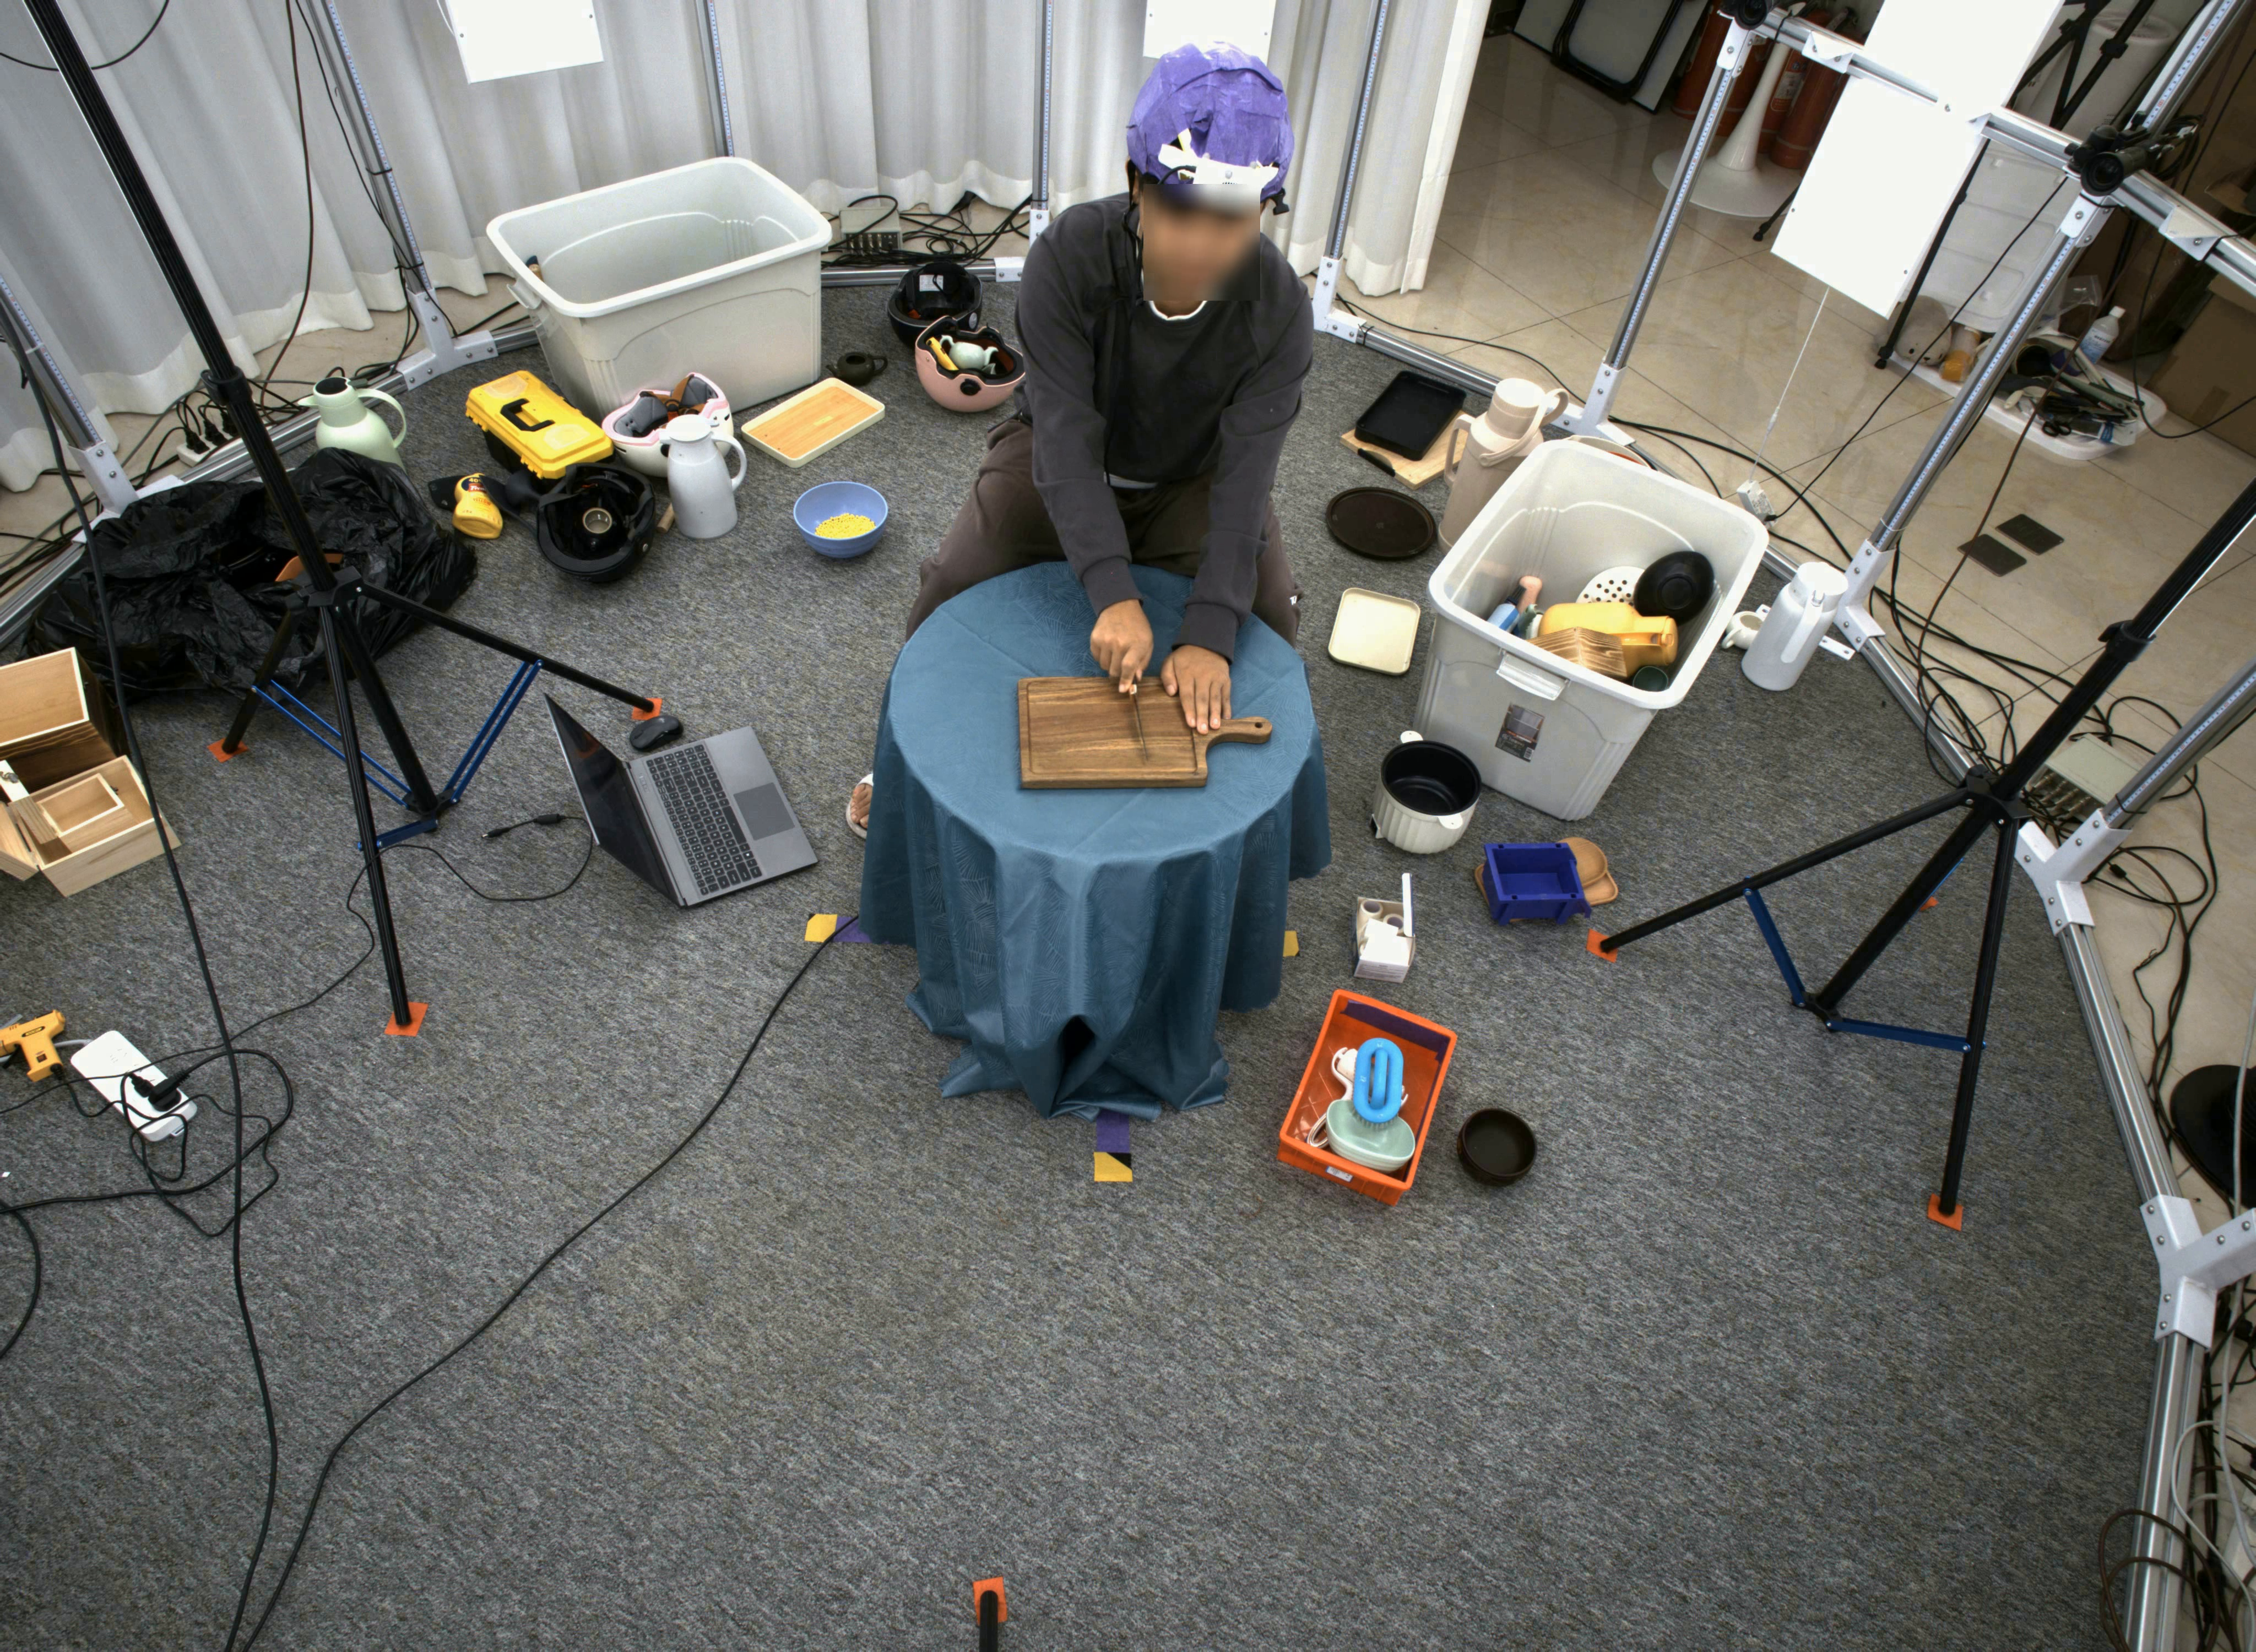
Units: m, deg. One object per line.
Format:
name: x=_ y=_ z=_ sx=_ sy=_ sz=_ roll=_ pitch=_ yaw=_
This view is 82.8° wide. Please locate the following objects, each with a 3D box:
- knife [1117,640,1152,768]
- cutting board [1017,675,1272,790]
knife: x=0.010 y=-0.172 z=1.780 sx=0.017 sy=0.025 sz=0.231 roll=-10 pitch=54 yaw=-3
cutting board: x=0.026 y=-0.133 z=1.769 sx=0.351 sy=0.022 sz=0.206 roll=-1 pitch=49 yaw=-6
